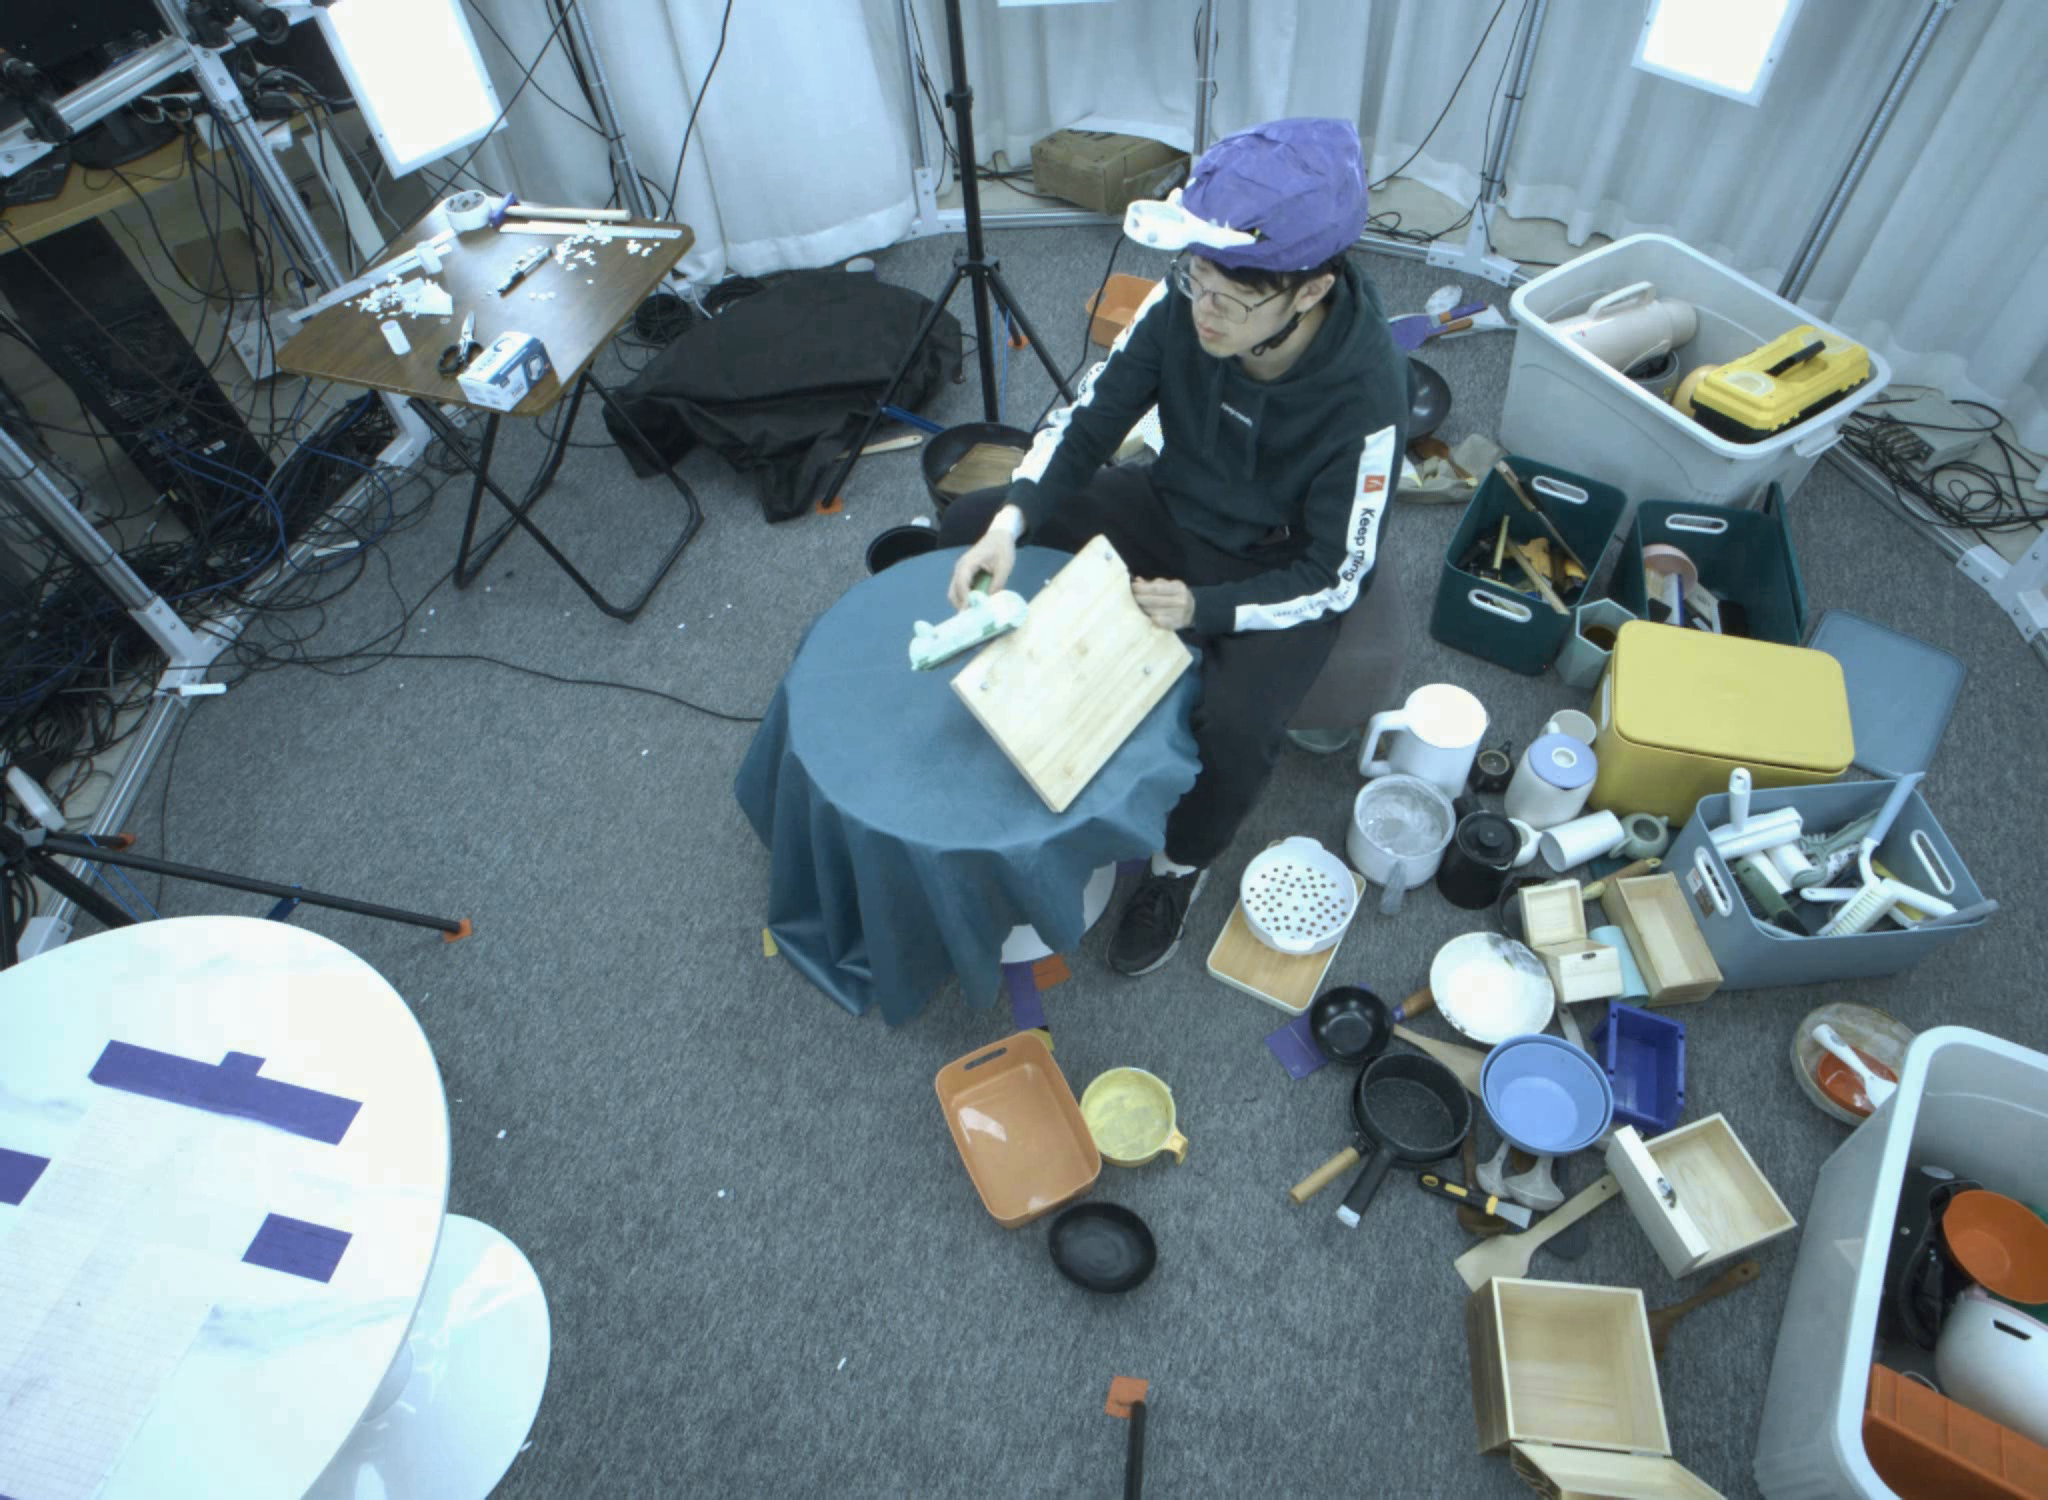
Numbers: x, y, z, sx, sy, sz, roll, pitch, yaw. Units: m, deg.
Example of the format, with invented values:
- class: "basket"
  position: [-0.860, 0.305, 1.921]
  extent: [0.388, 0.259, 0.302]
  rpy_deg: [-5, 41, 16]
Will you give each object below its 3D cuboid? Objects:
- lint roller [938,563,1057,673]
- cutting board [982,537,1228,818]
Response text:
- class: "lint roller"
  position: [-0.034, -0.206, 1.709]
  extent: [0.195, 0.084, 0.182]
  rpy_deg: [-20, 46, 42]
- class: "cutting board"
  position: [0.123, -0.107, 1.743]
  extent: [0.350, 0.254, 0.023]
  rpy_deg: [-47, 22, -25]
